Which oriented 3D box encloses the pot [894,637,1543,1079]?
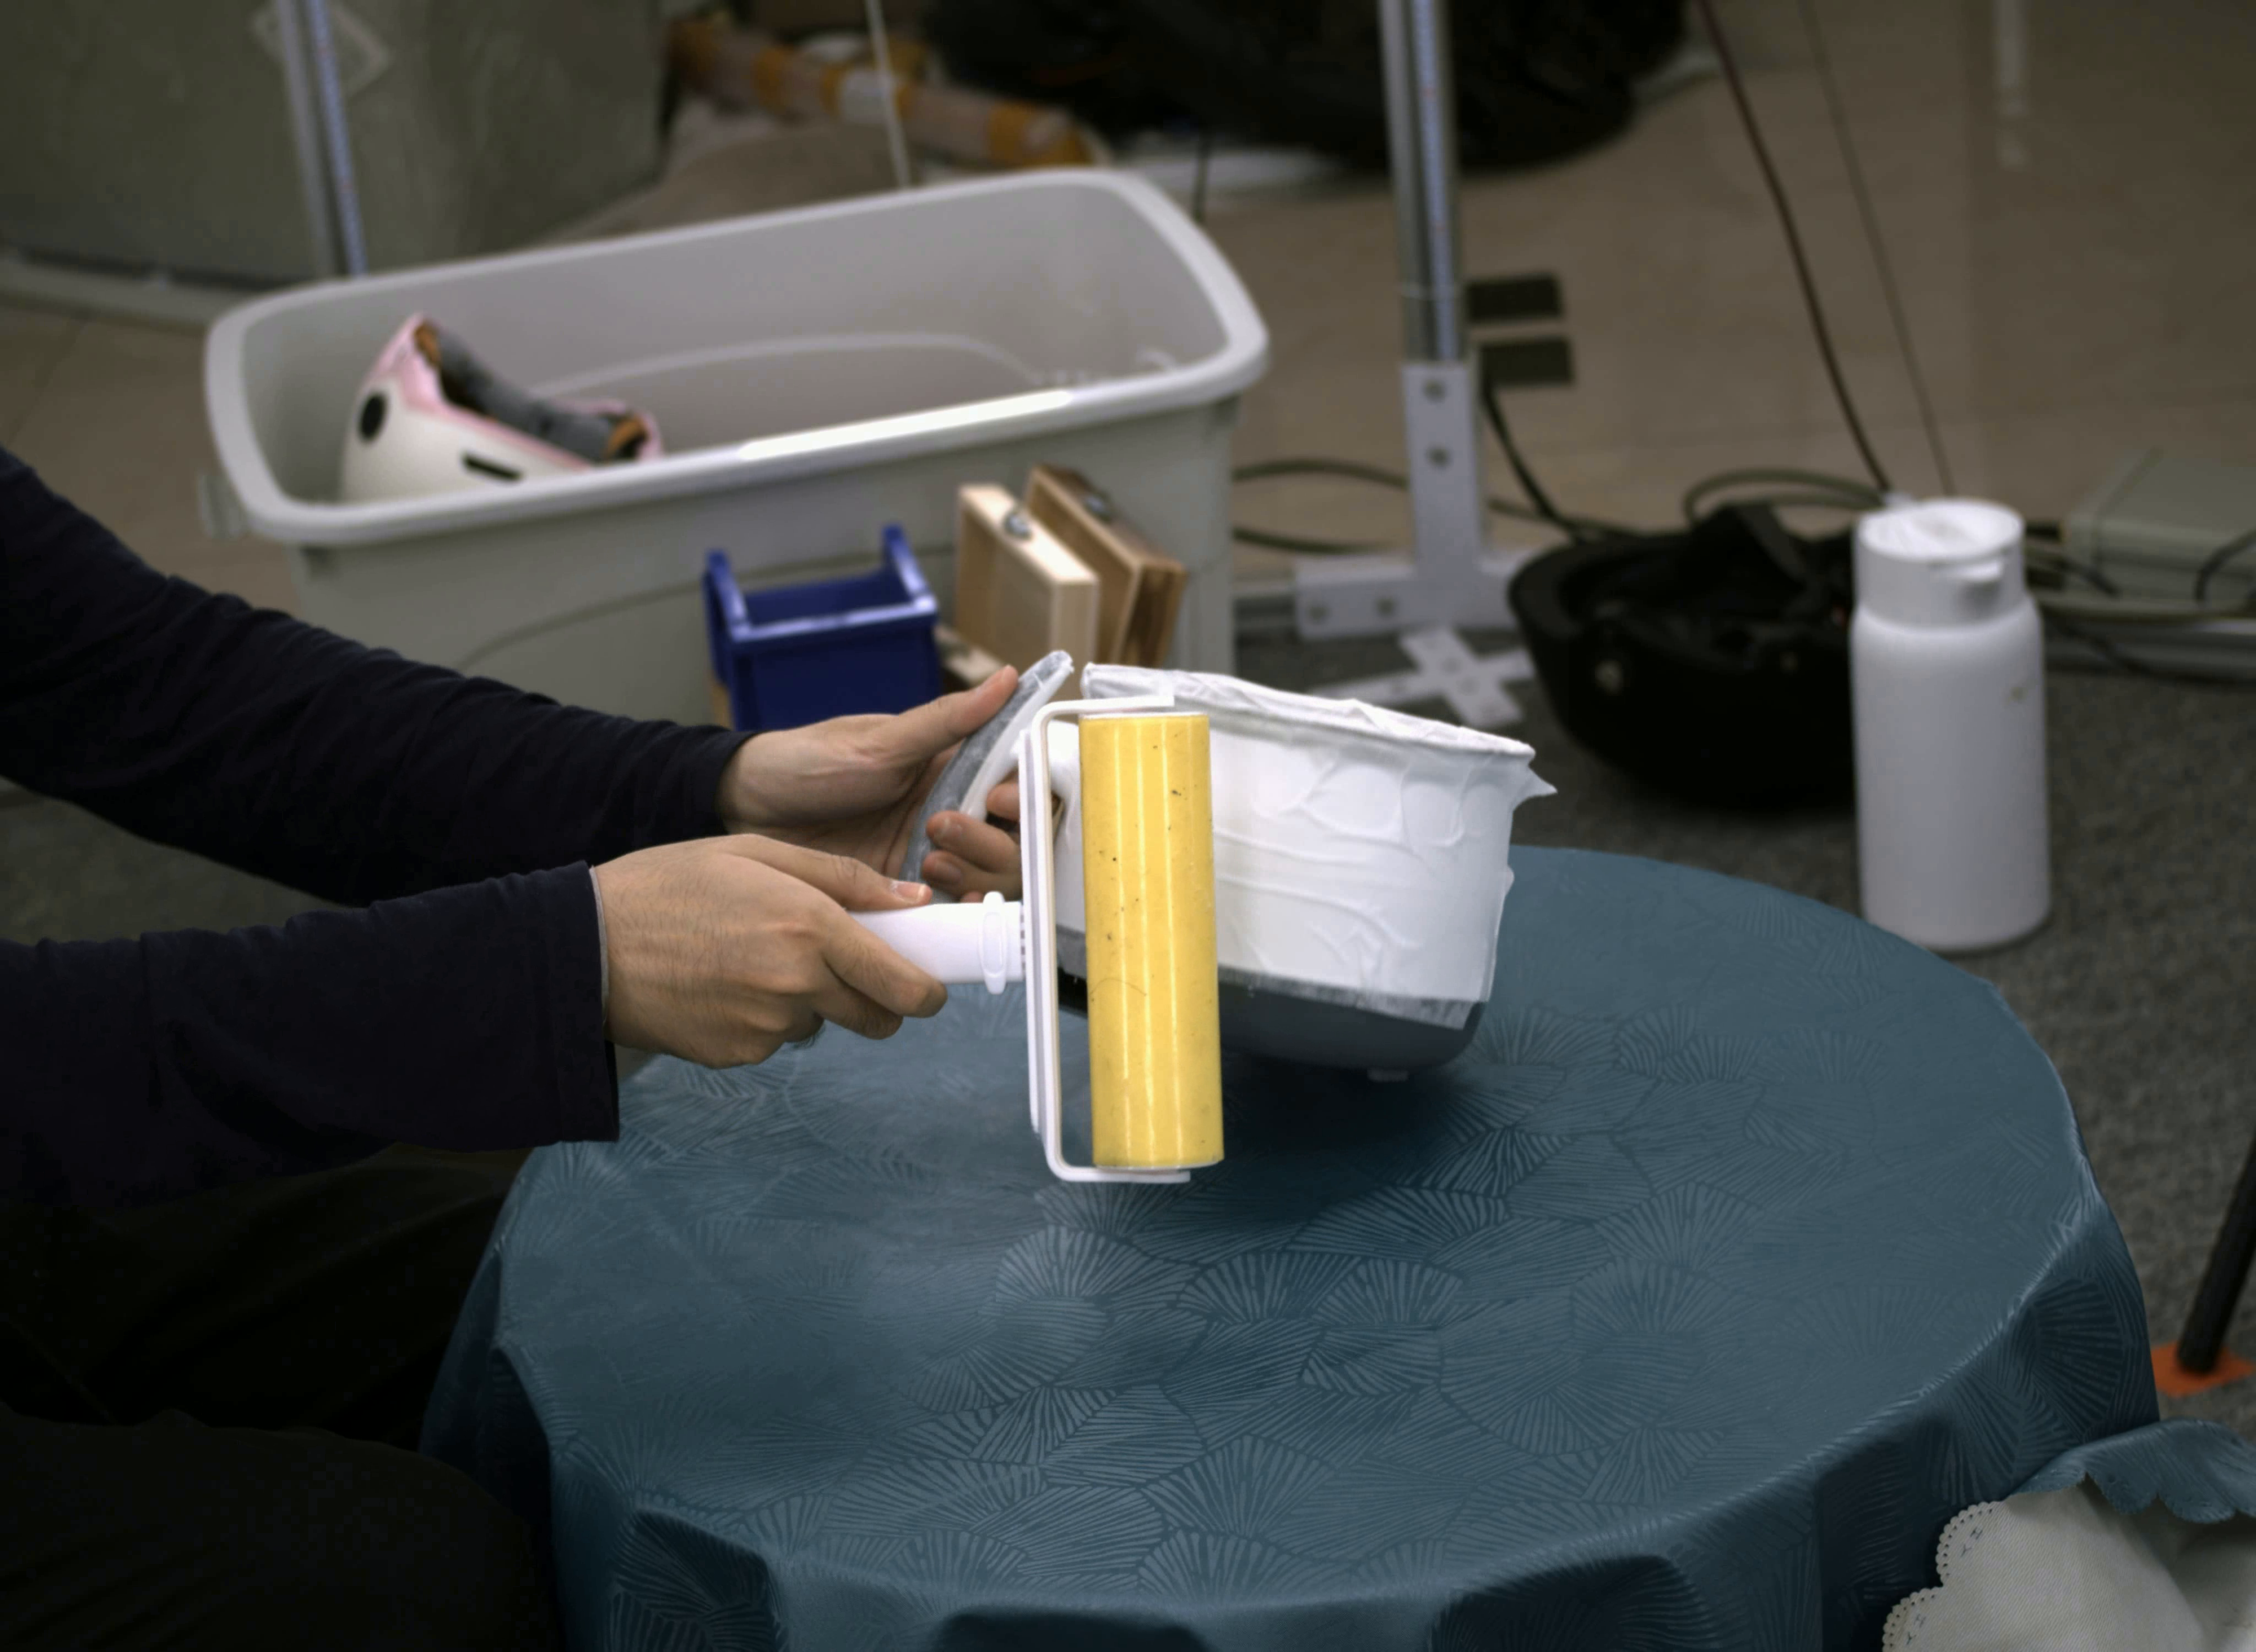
[{"bbox_3d":[0.032,0.009,2.174,0.234,0.137,0.178,12,5,-9],"label":"pot"}]

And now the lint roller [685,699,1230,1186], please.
[{"bbox_3d":[-0.064,0.046,2.025,0.192,0.175,0.051,-3,2,-2],"label":"lint roller"}]
